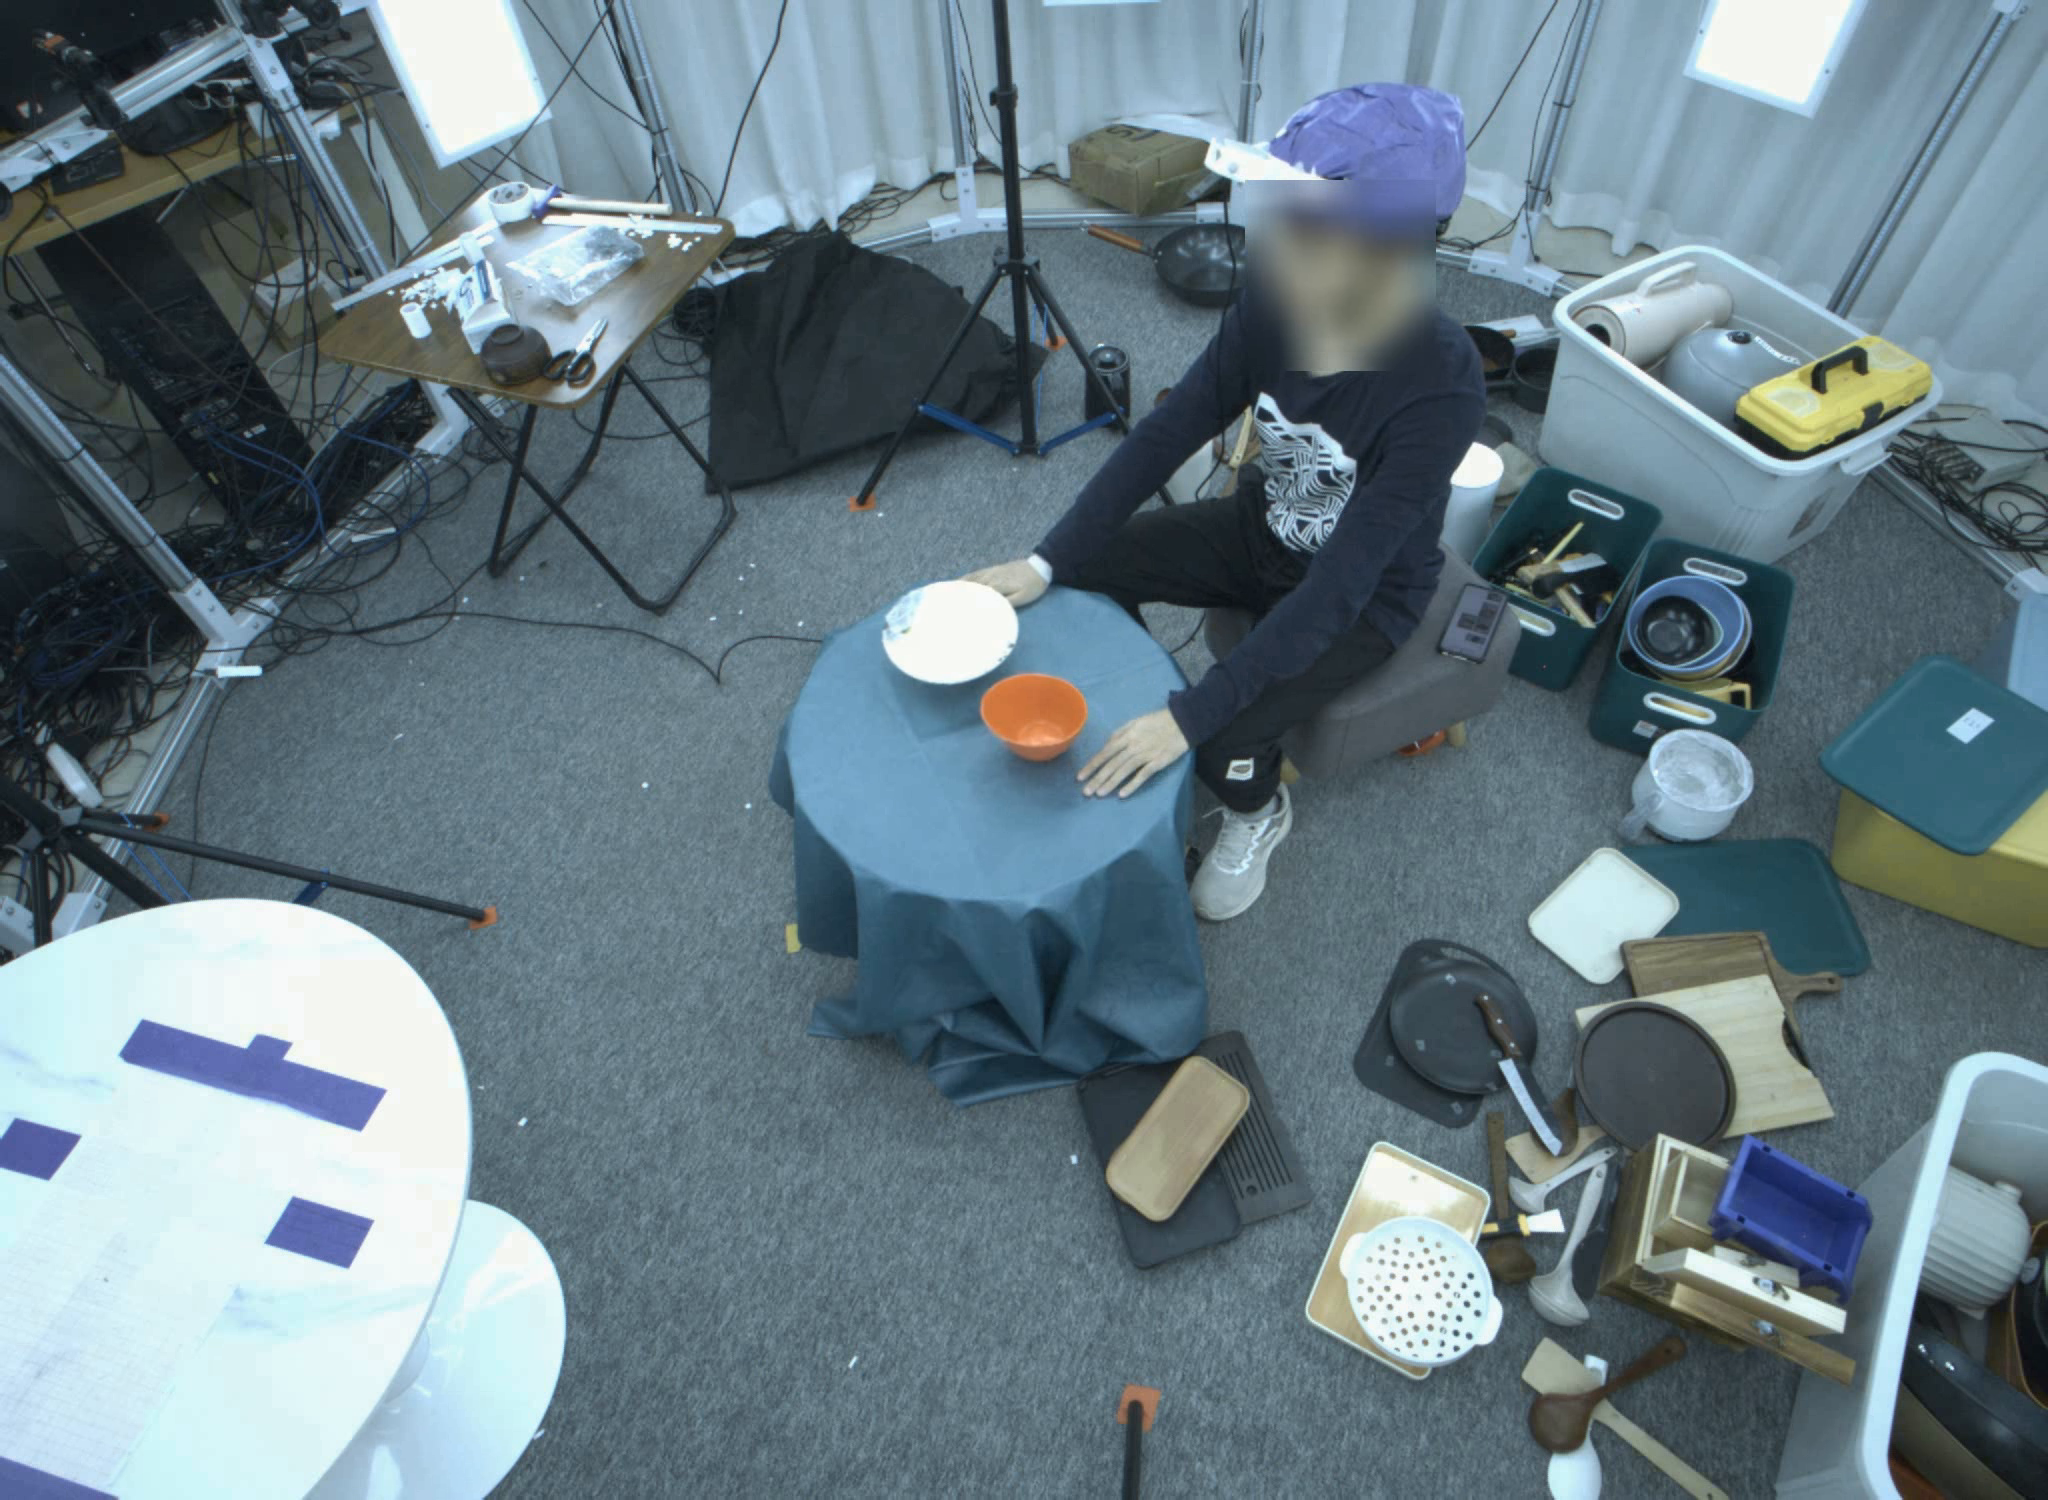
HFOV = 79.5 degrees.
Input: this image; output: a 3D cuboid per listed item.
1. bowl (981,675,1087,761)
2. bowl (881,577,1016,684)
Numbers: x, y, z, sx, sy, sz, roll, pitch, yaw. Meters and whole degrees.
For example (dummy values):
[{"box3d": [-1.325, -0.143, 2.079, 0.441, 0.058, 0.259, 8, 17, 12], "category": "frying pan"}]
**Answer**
[{"box3d": [0.015, -0.032, 1.757, 0.148, 0.106, 0.146, 0, 53, 1], "category": "bowl"}, {"box3d": [-0.112, -0.162, 1.863, 0.204, 0.079, 0.202, 0, 56, 2], "category": "bowl"}]
